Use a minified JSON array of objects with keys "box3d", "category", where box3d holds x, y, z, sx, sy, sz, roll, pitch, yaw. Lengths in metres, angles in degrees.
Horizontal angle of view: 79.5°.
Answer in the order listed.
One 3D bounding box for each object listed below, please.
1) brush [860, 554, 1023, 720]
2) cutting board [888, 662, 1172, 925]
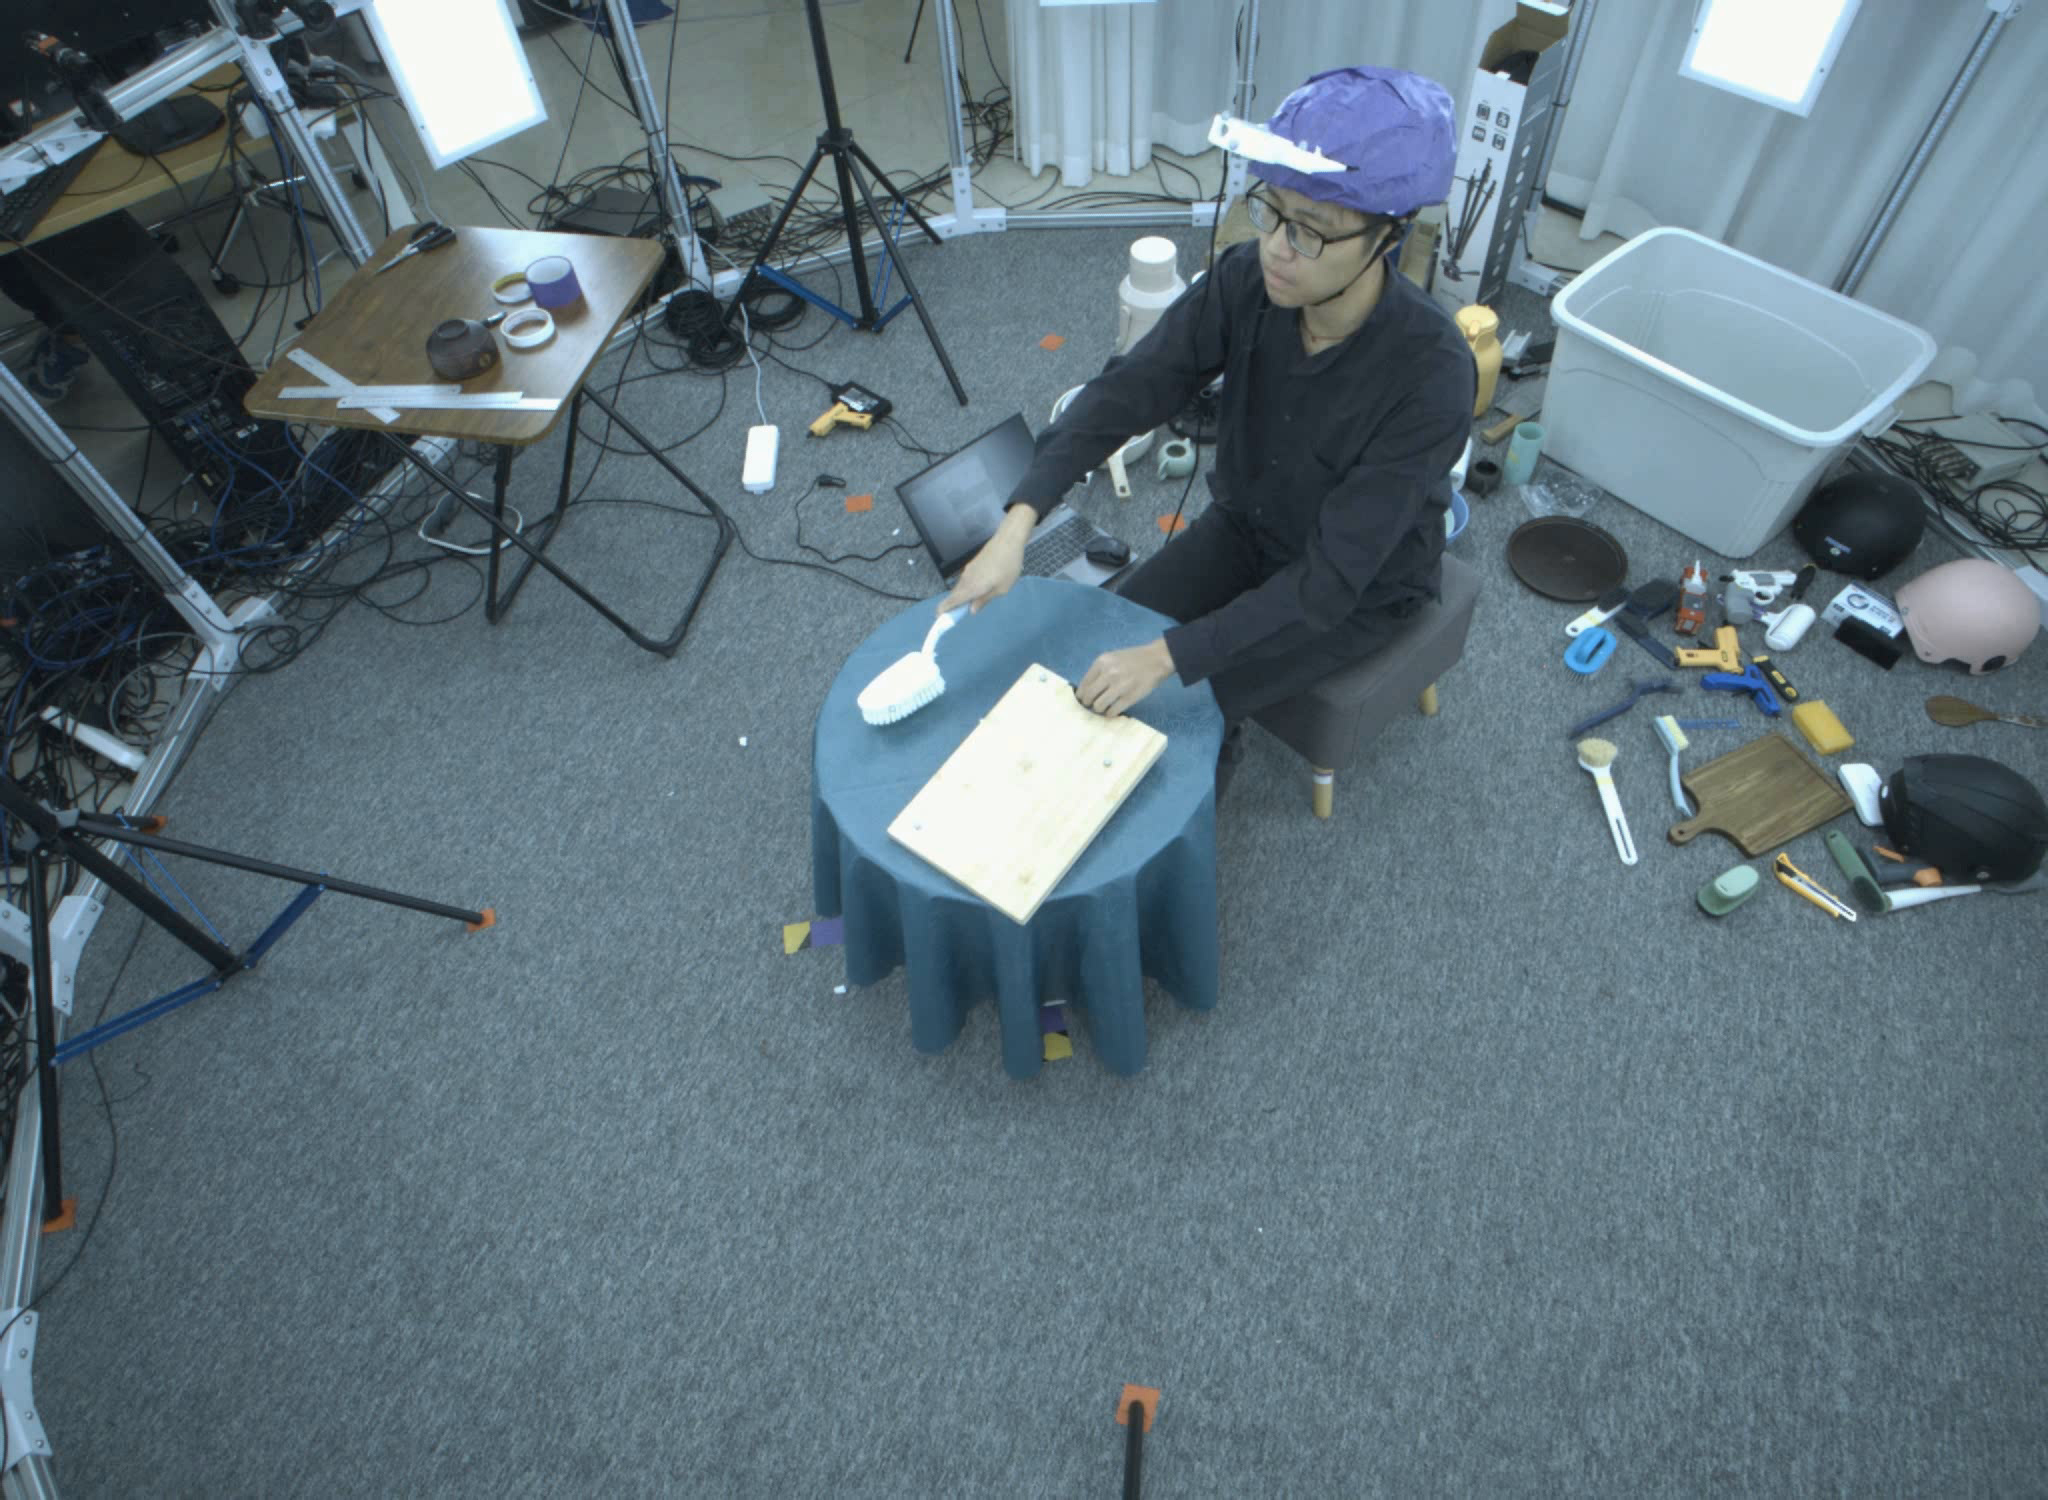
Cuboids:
[{"box3d":[-0.109,-0.158,1.815,0.326,0.084,0.083,-44,93,-9],"category":"brush"},{"box3d":[0.009,0.050,1.721,0.247,0.024,0.350,30,66,20],"category":"cutting board"}]
